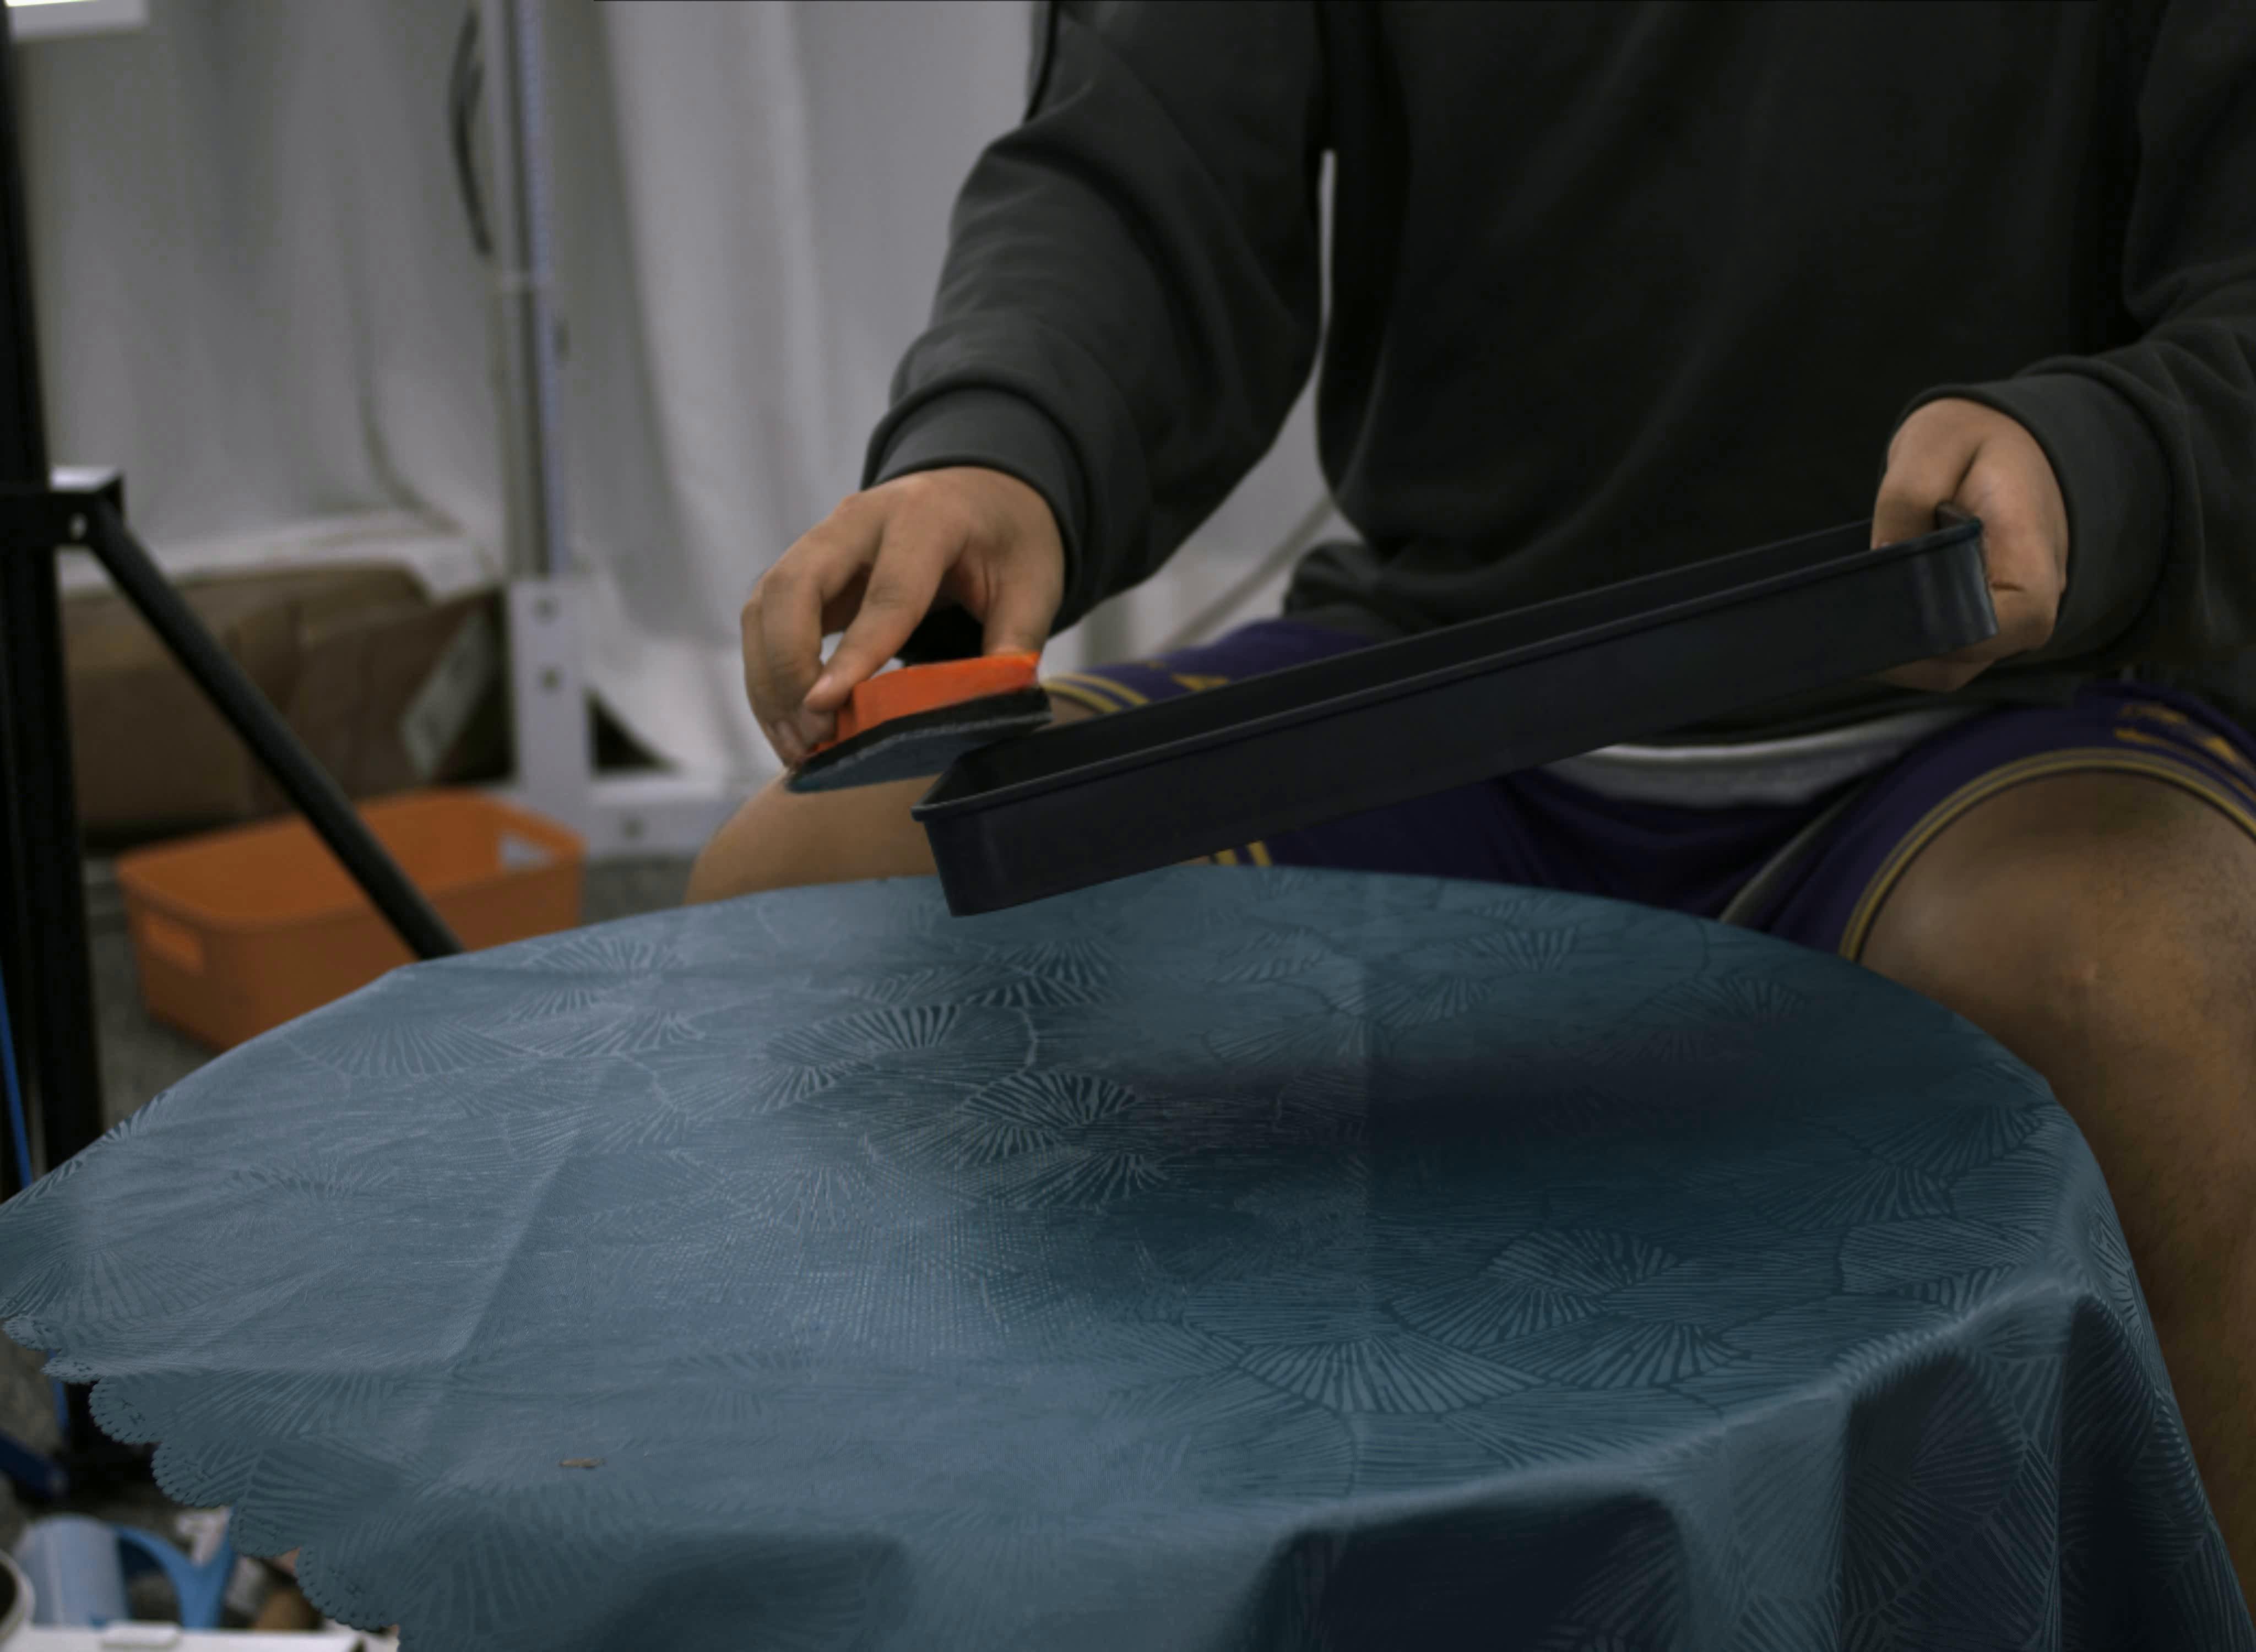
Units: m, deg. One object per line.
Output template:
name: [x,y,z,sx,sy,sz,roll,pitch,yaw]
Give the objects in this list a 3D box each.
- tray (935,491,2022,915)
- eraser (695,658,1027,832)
tray: [0.104,-0.038,1.585,0.318,0.037,0.184,-16,4,6]
eraser: [-0.085,-0.025,1.687,0.057,0.023,0.110,-9,-9,-44]
